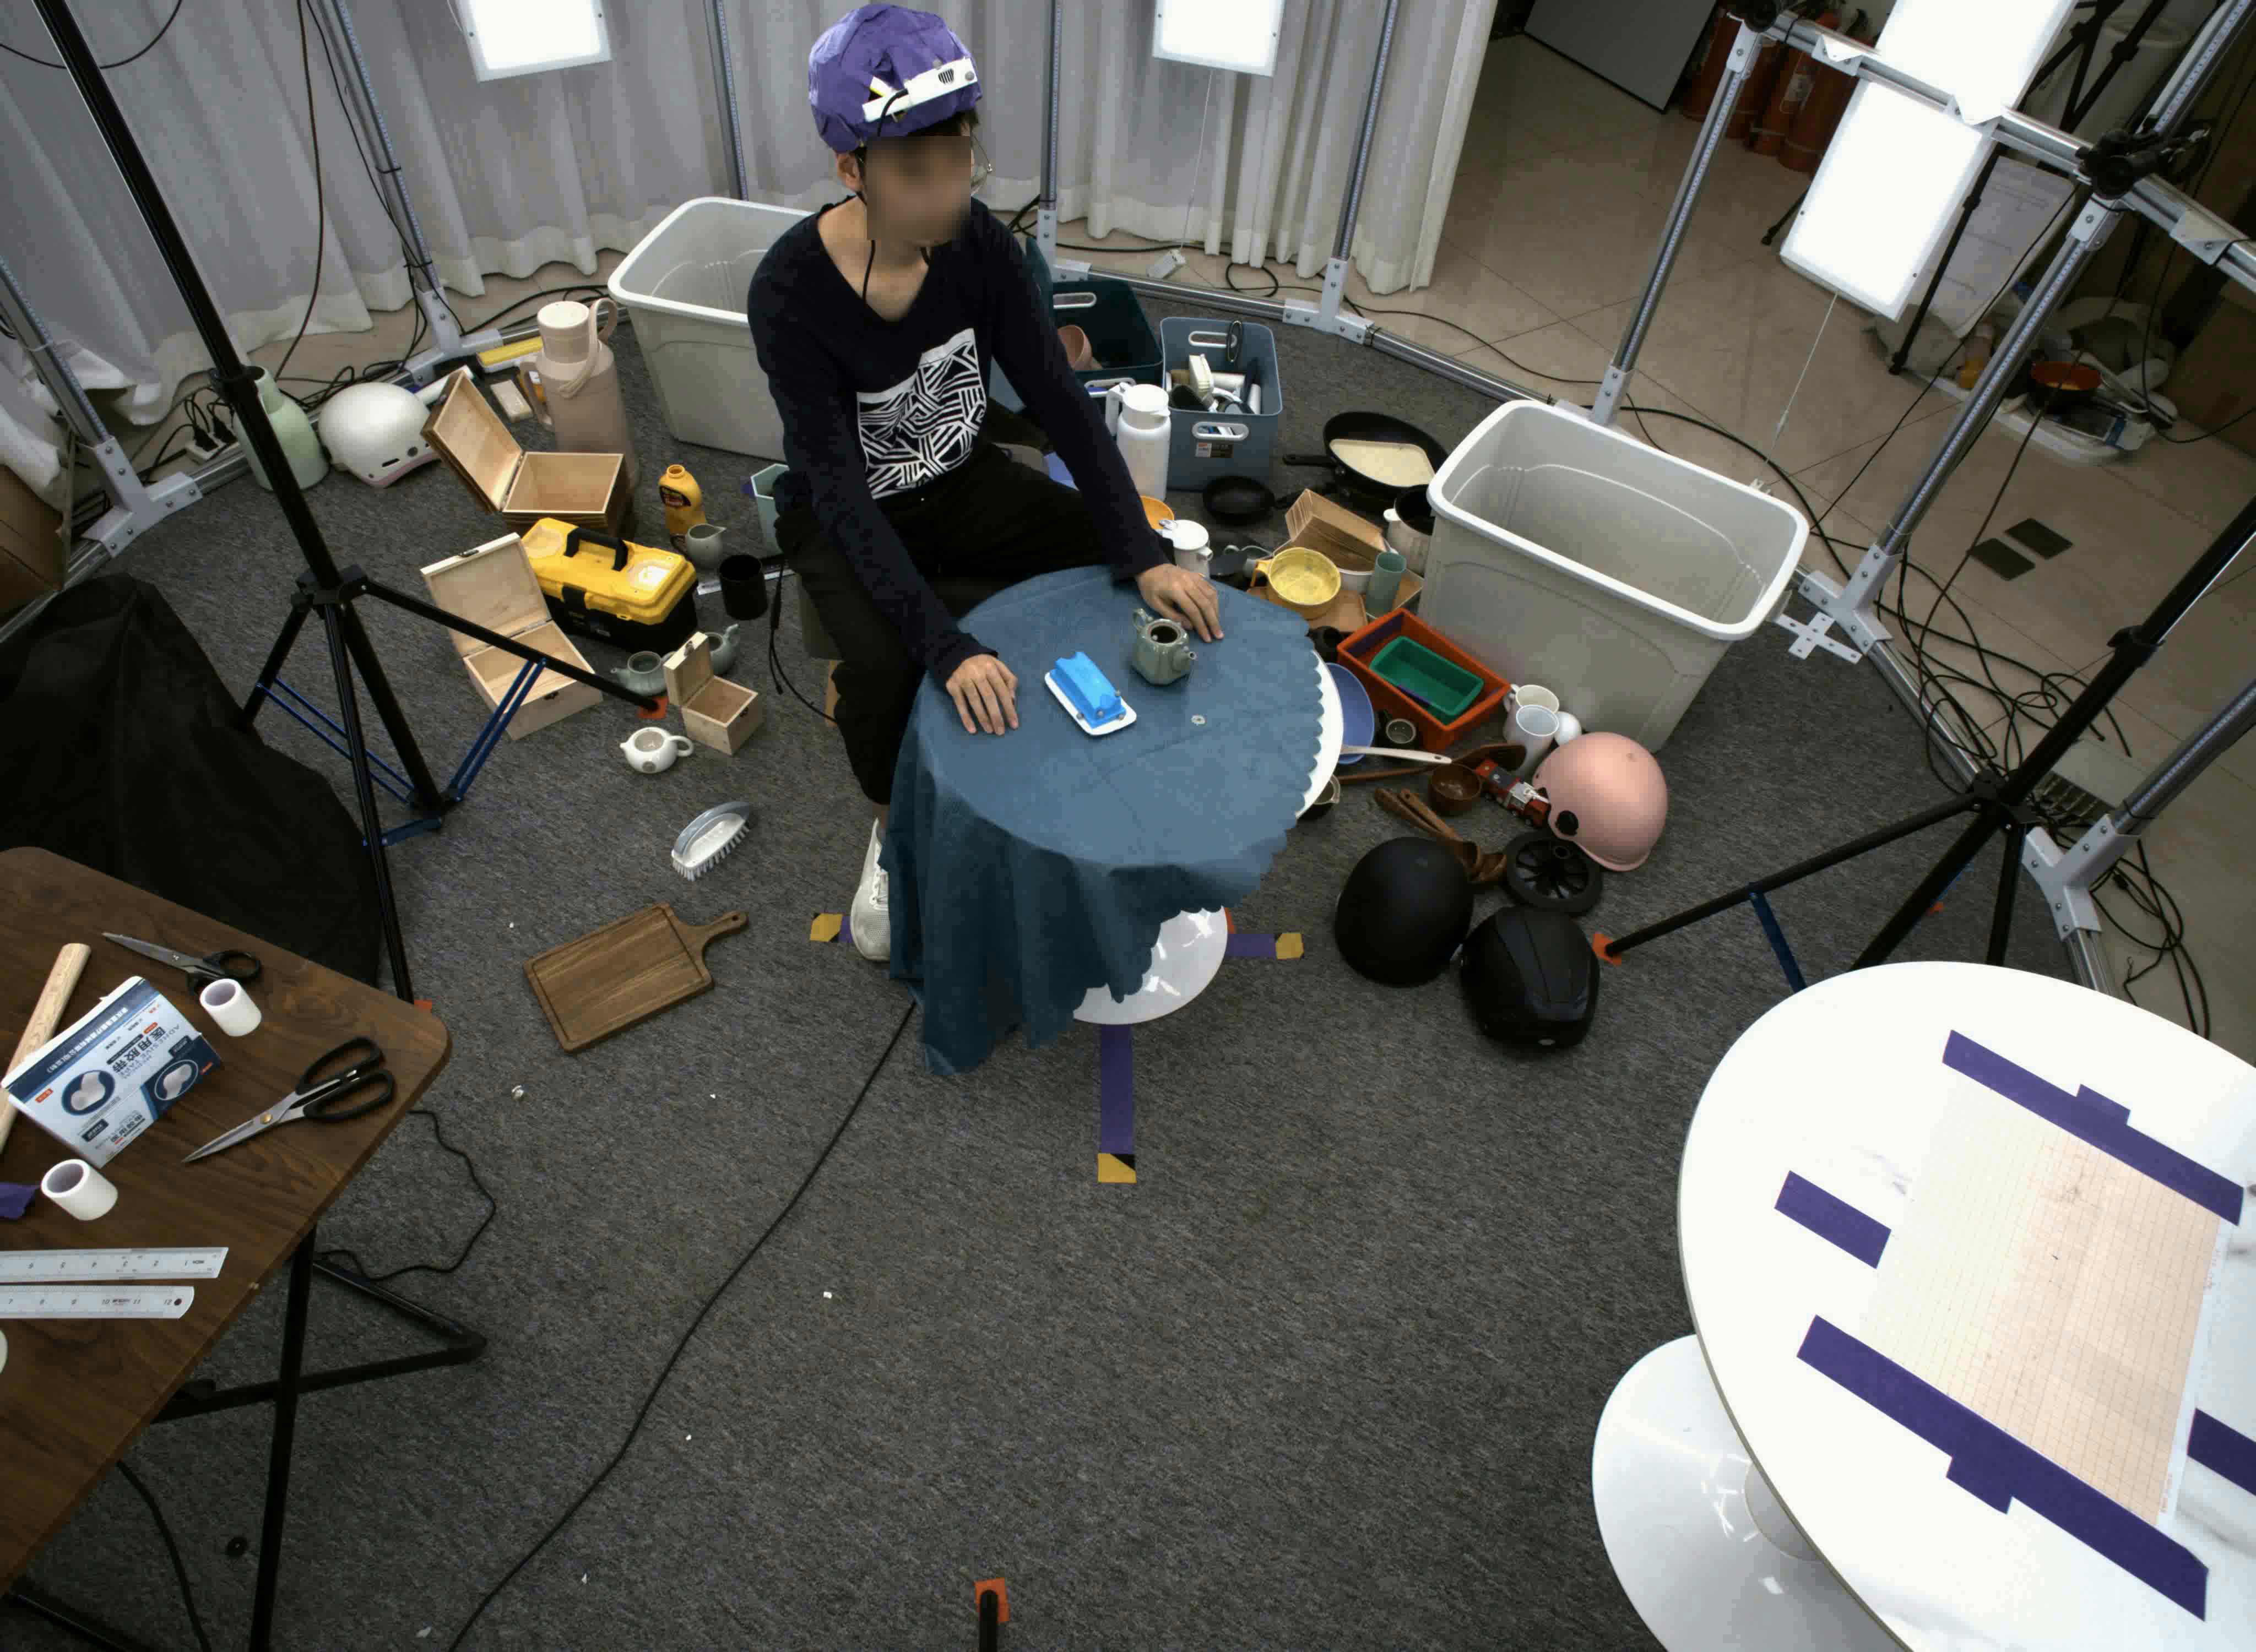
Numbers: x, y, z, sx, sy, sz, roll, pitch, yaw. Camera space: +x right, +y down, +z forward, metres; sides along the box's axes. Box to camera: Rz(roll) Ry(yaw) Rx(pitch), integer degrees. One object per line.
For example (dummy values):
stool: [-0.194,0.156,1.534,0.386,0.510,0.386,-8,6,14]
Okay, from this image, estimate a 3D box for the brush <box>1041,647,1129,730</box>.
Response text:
brush: [-0.058,-0.200,1.798,0.084,0.054,0.147,-19,56,-24]

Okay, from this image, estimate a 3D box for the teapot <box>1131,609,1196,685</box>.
teapot: [0.050,-0.253,1.844,0.080,0.073,0.135,-30,55,-26]
